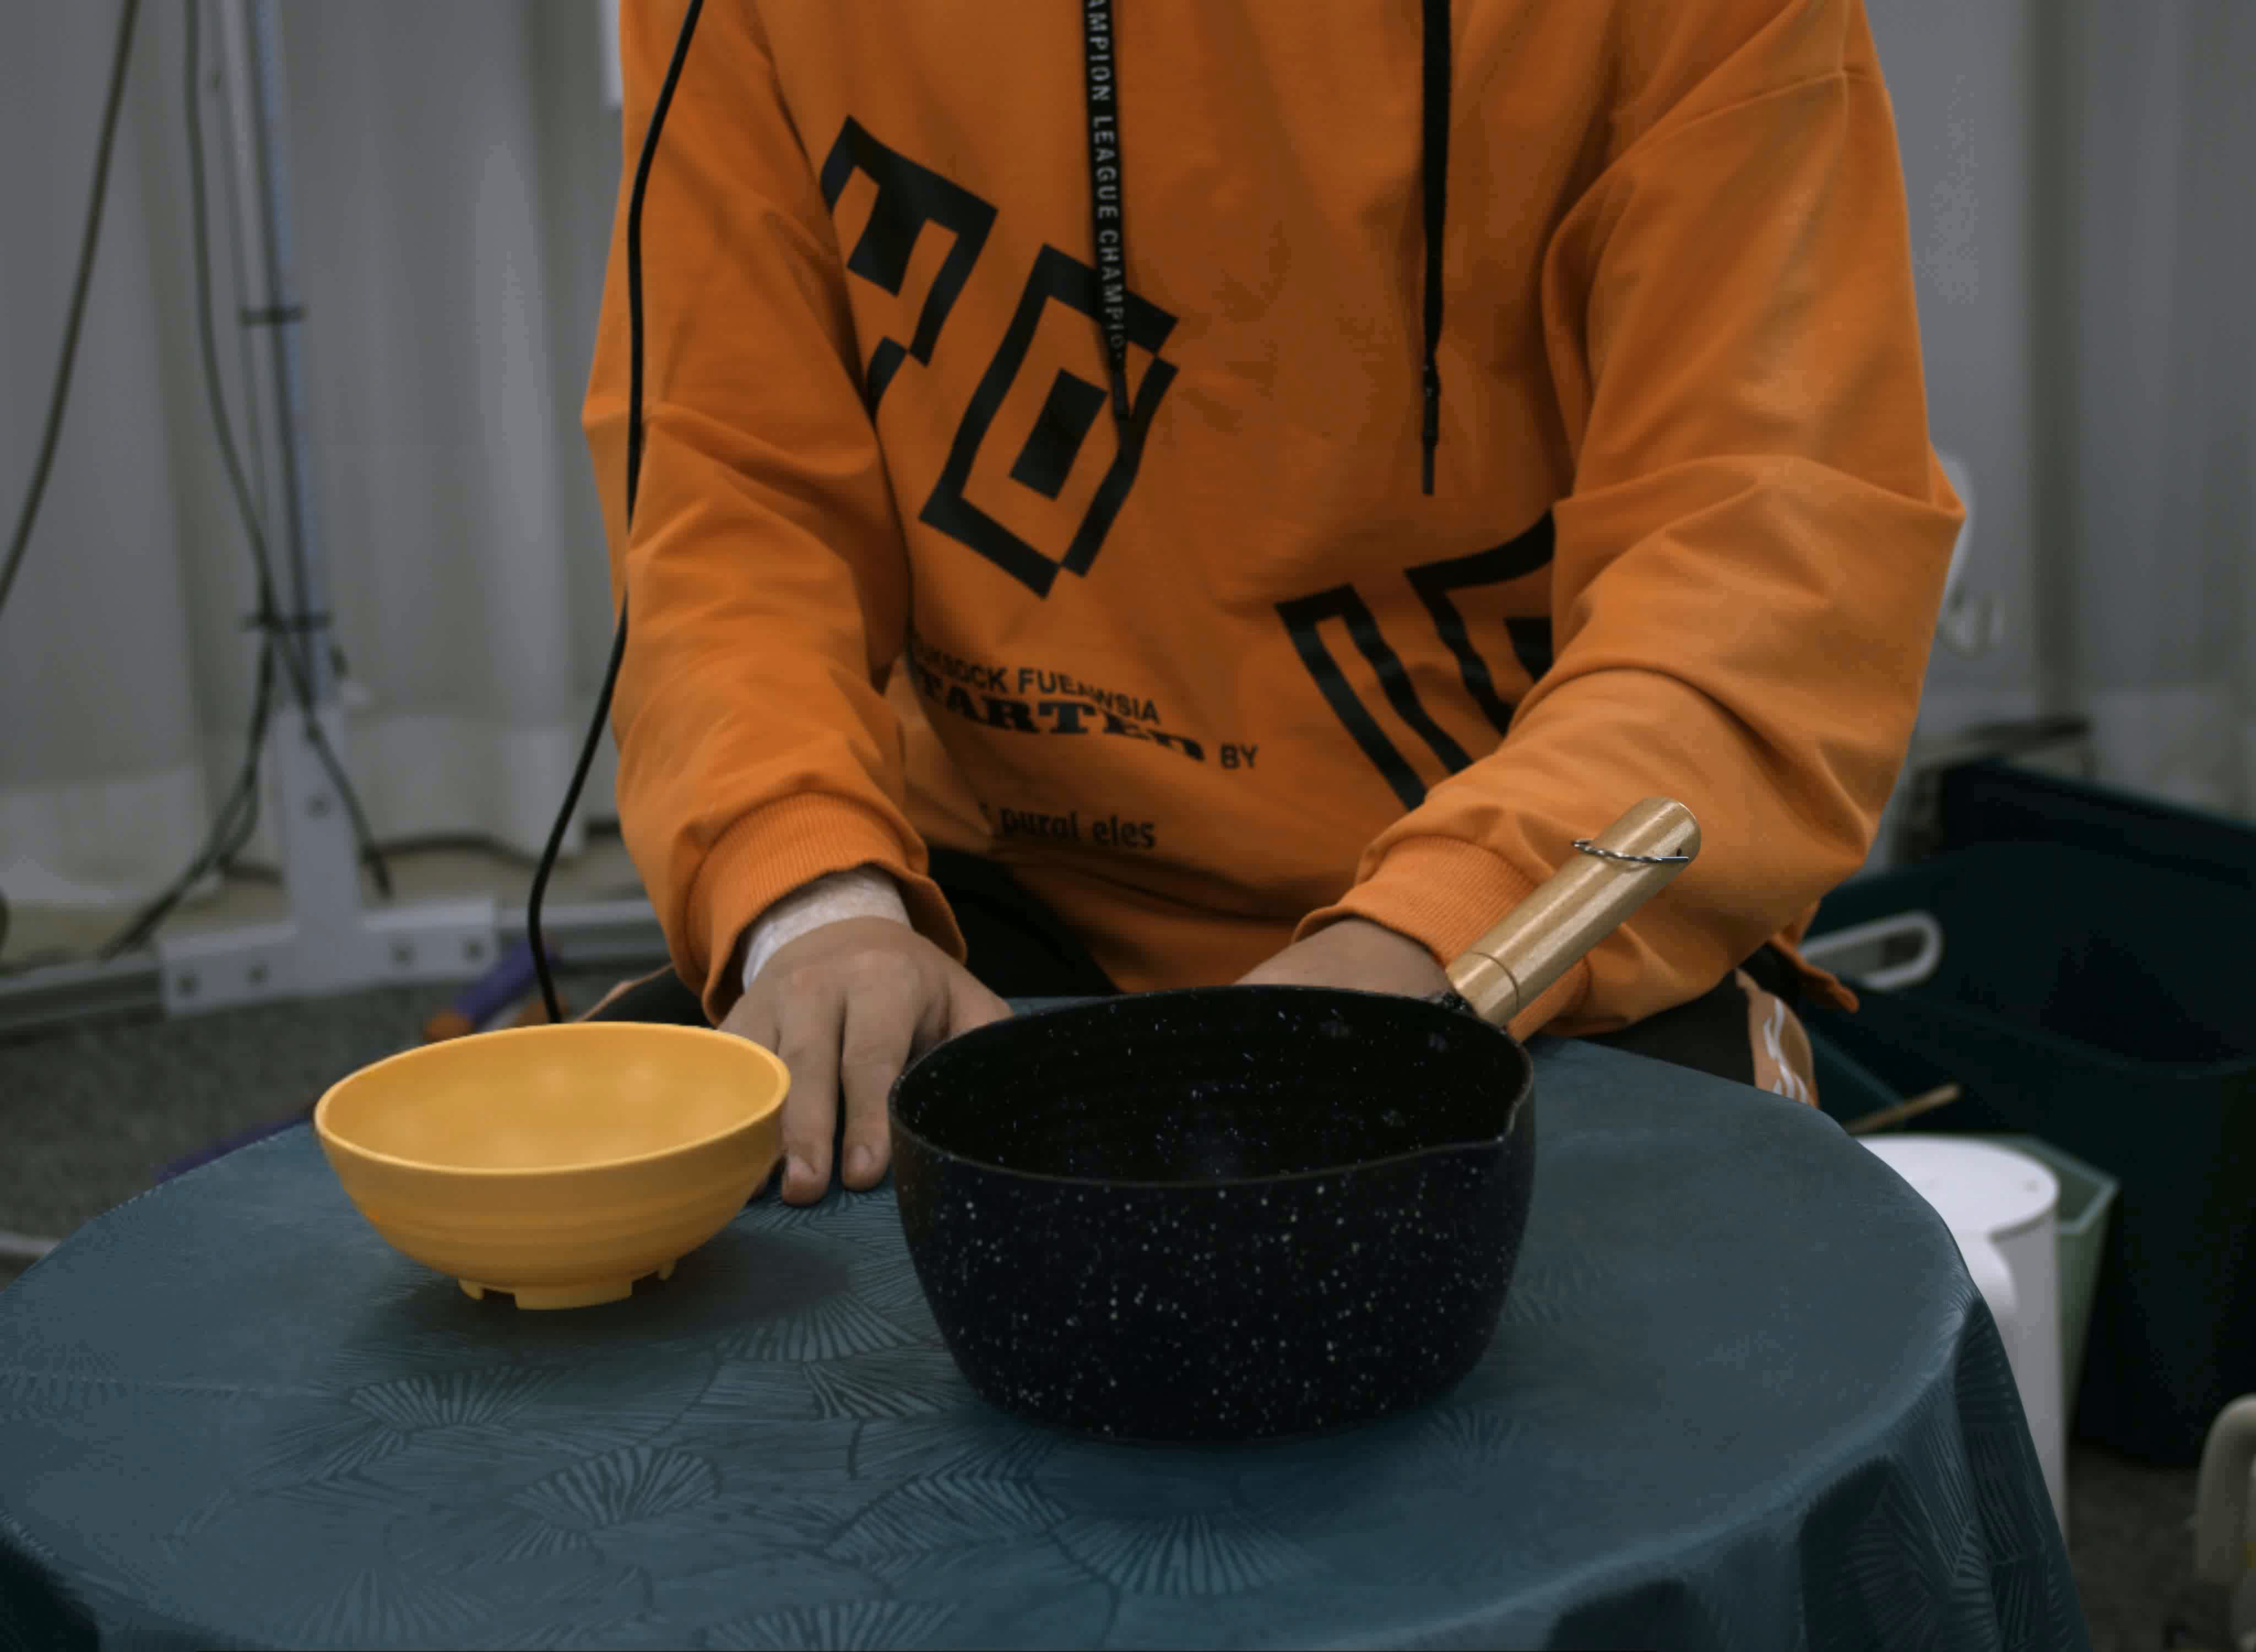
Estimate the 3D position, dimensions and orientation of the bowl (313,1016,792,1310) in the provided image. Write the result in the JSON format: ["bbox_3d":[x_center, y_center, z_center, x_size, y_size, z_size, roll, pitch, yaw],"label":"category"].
[{"bbox_3d":[-0.173,0.108,1.662,0.145,0.060,0.146,-2,16,0],"label":"bowl"}]

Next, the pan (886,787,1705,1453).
[{"bbox_3d":[0.072,0.082,1.617,0.208,0.108,0.343,6,19,36],"label":"pan"}]
